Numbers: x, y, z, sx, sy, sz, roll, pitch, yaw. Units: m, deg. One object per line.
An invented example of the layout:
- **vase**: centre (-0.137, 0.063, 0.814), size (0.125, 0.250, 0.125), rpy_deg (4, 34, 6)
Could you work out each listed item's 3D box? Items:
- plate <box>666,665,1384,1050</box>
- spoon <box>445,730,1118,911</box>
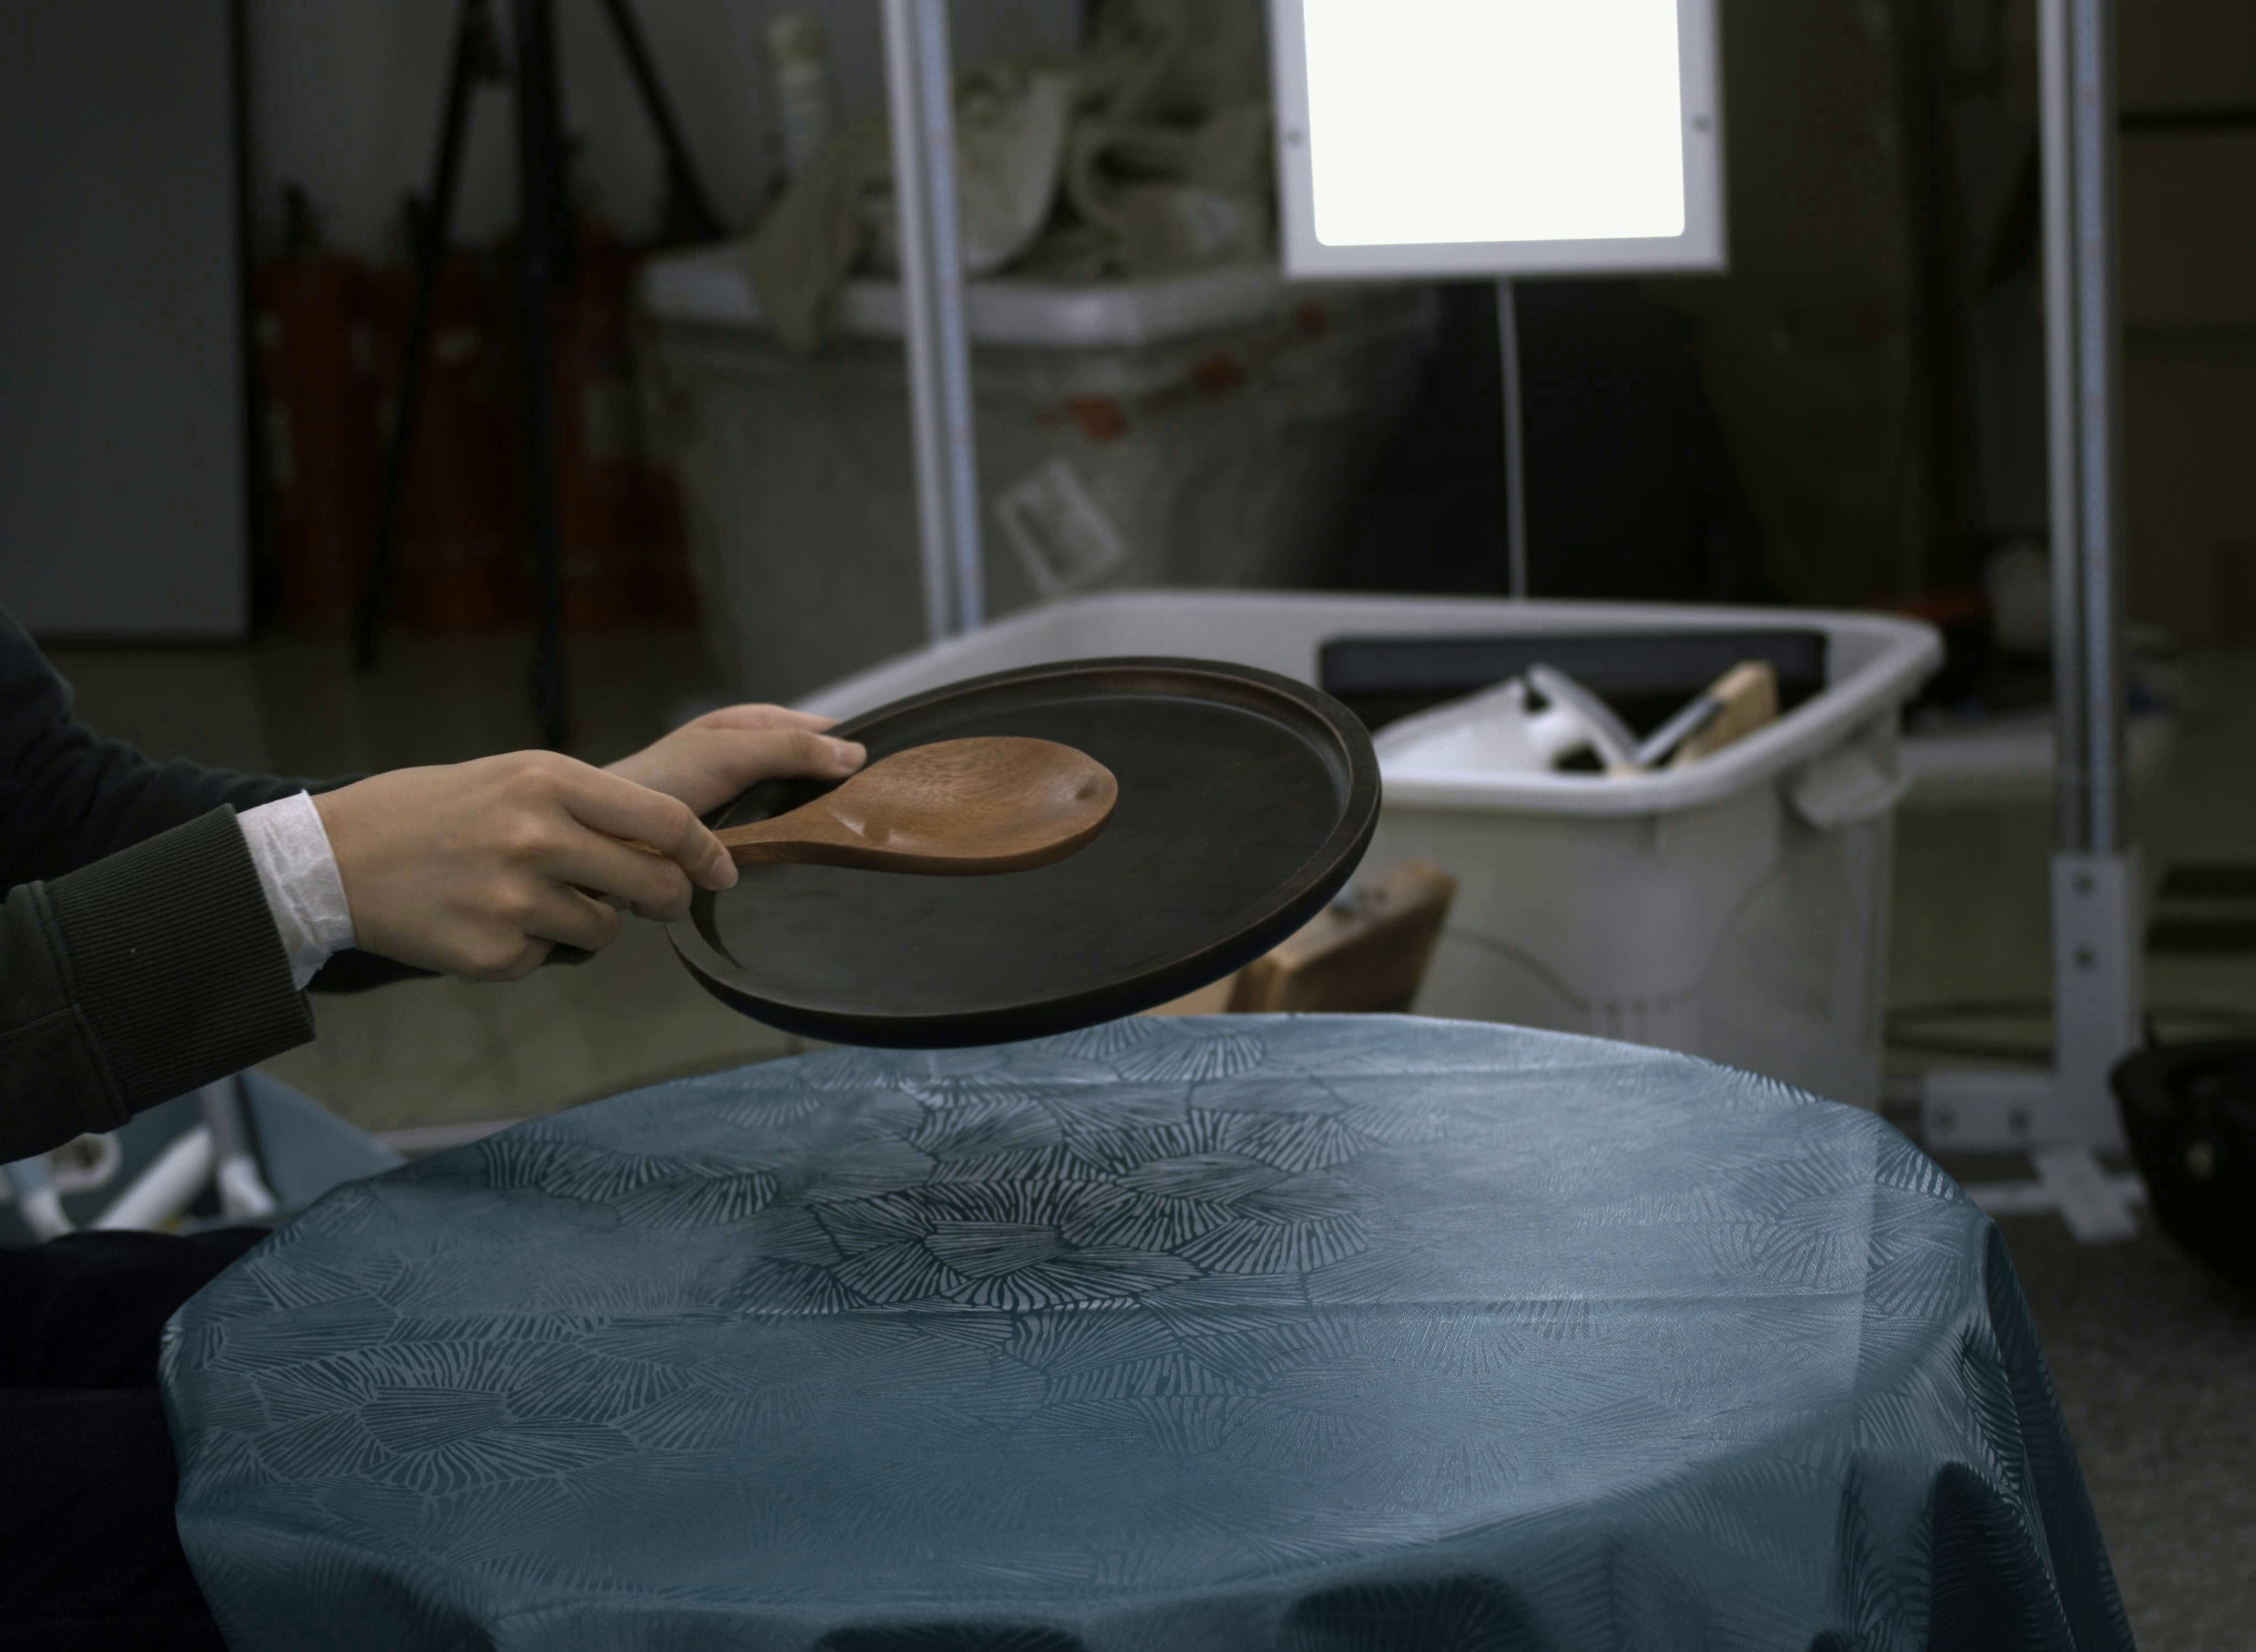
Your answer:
- **plate**: centre (-0.035, 0.009, 1.892), size (0.255, 0.029, 0.254), rpy_deg (-11, 26, 4)
- **spoon**: centre (-0.108, 0.004, 1.725), size (0.213, 0.017, 0.076), rpy_deg (-8, 33, -12)
